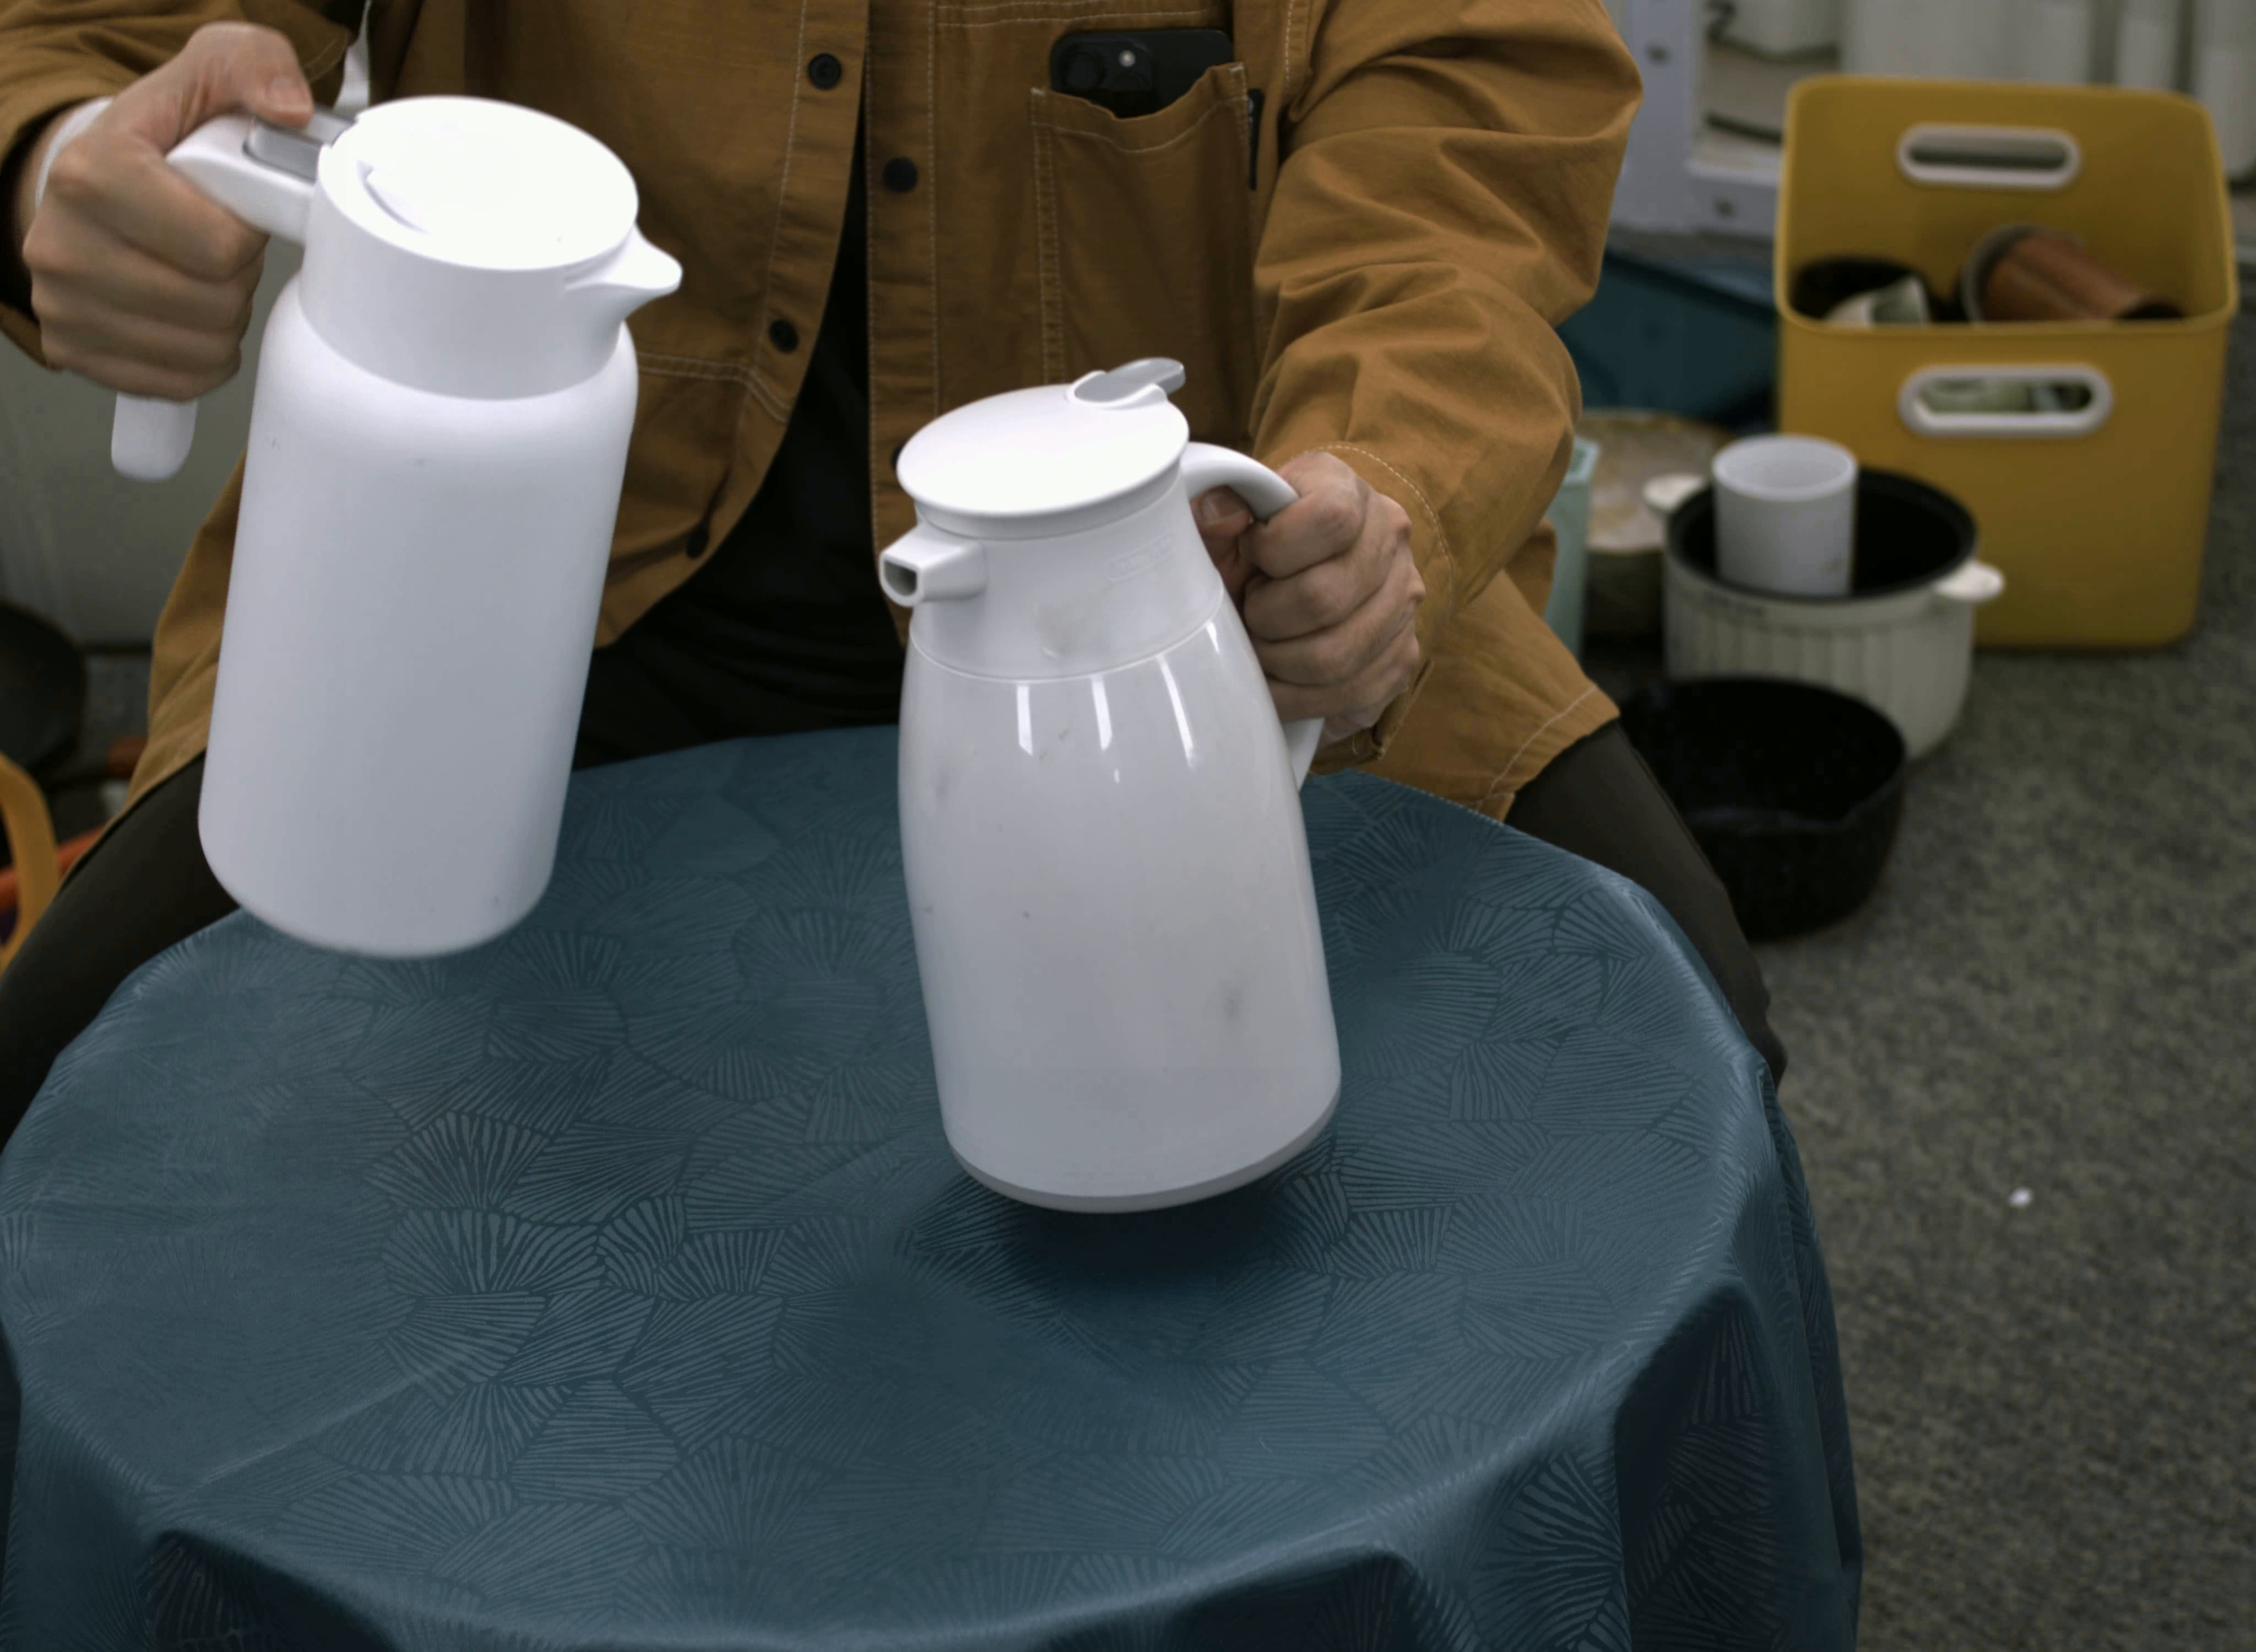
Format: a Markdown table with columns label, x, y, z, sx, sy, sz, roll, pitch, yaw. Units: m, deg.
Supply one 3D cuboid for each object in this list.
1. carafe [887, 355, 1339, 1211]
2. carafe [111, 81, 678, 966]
| label | x | y | z | sx | sy | sz | roll | pitch | yaw |
| --- | --- | --- | --- | --- | --- | --- | --- | --- | --- |
| carafe | 0.002 | -0.025 | 1.798 | 0.170 | 0.246 | 0.132 | -28 | 32 | -36 |
| carafe | -0.240 | -0.097 | 1.782 | 0.172 | 0.265 | 0.126 | 19 | 36 | 9 |
